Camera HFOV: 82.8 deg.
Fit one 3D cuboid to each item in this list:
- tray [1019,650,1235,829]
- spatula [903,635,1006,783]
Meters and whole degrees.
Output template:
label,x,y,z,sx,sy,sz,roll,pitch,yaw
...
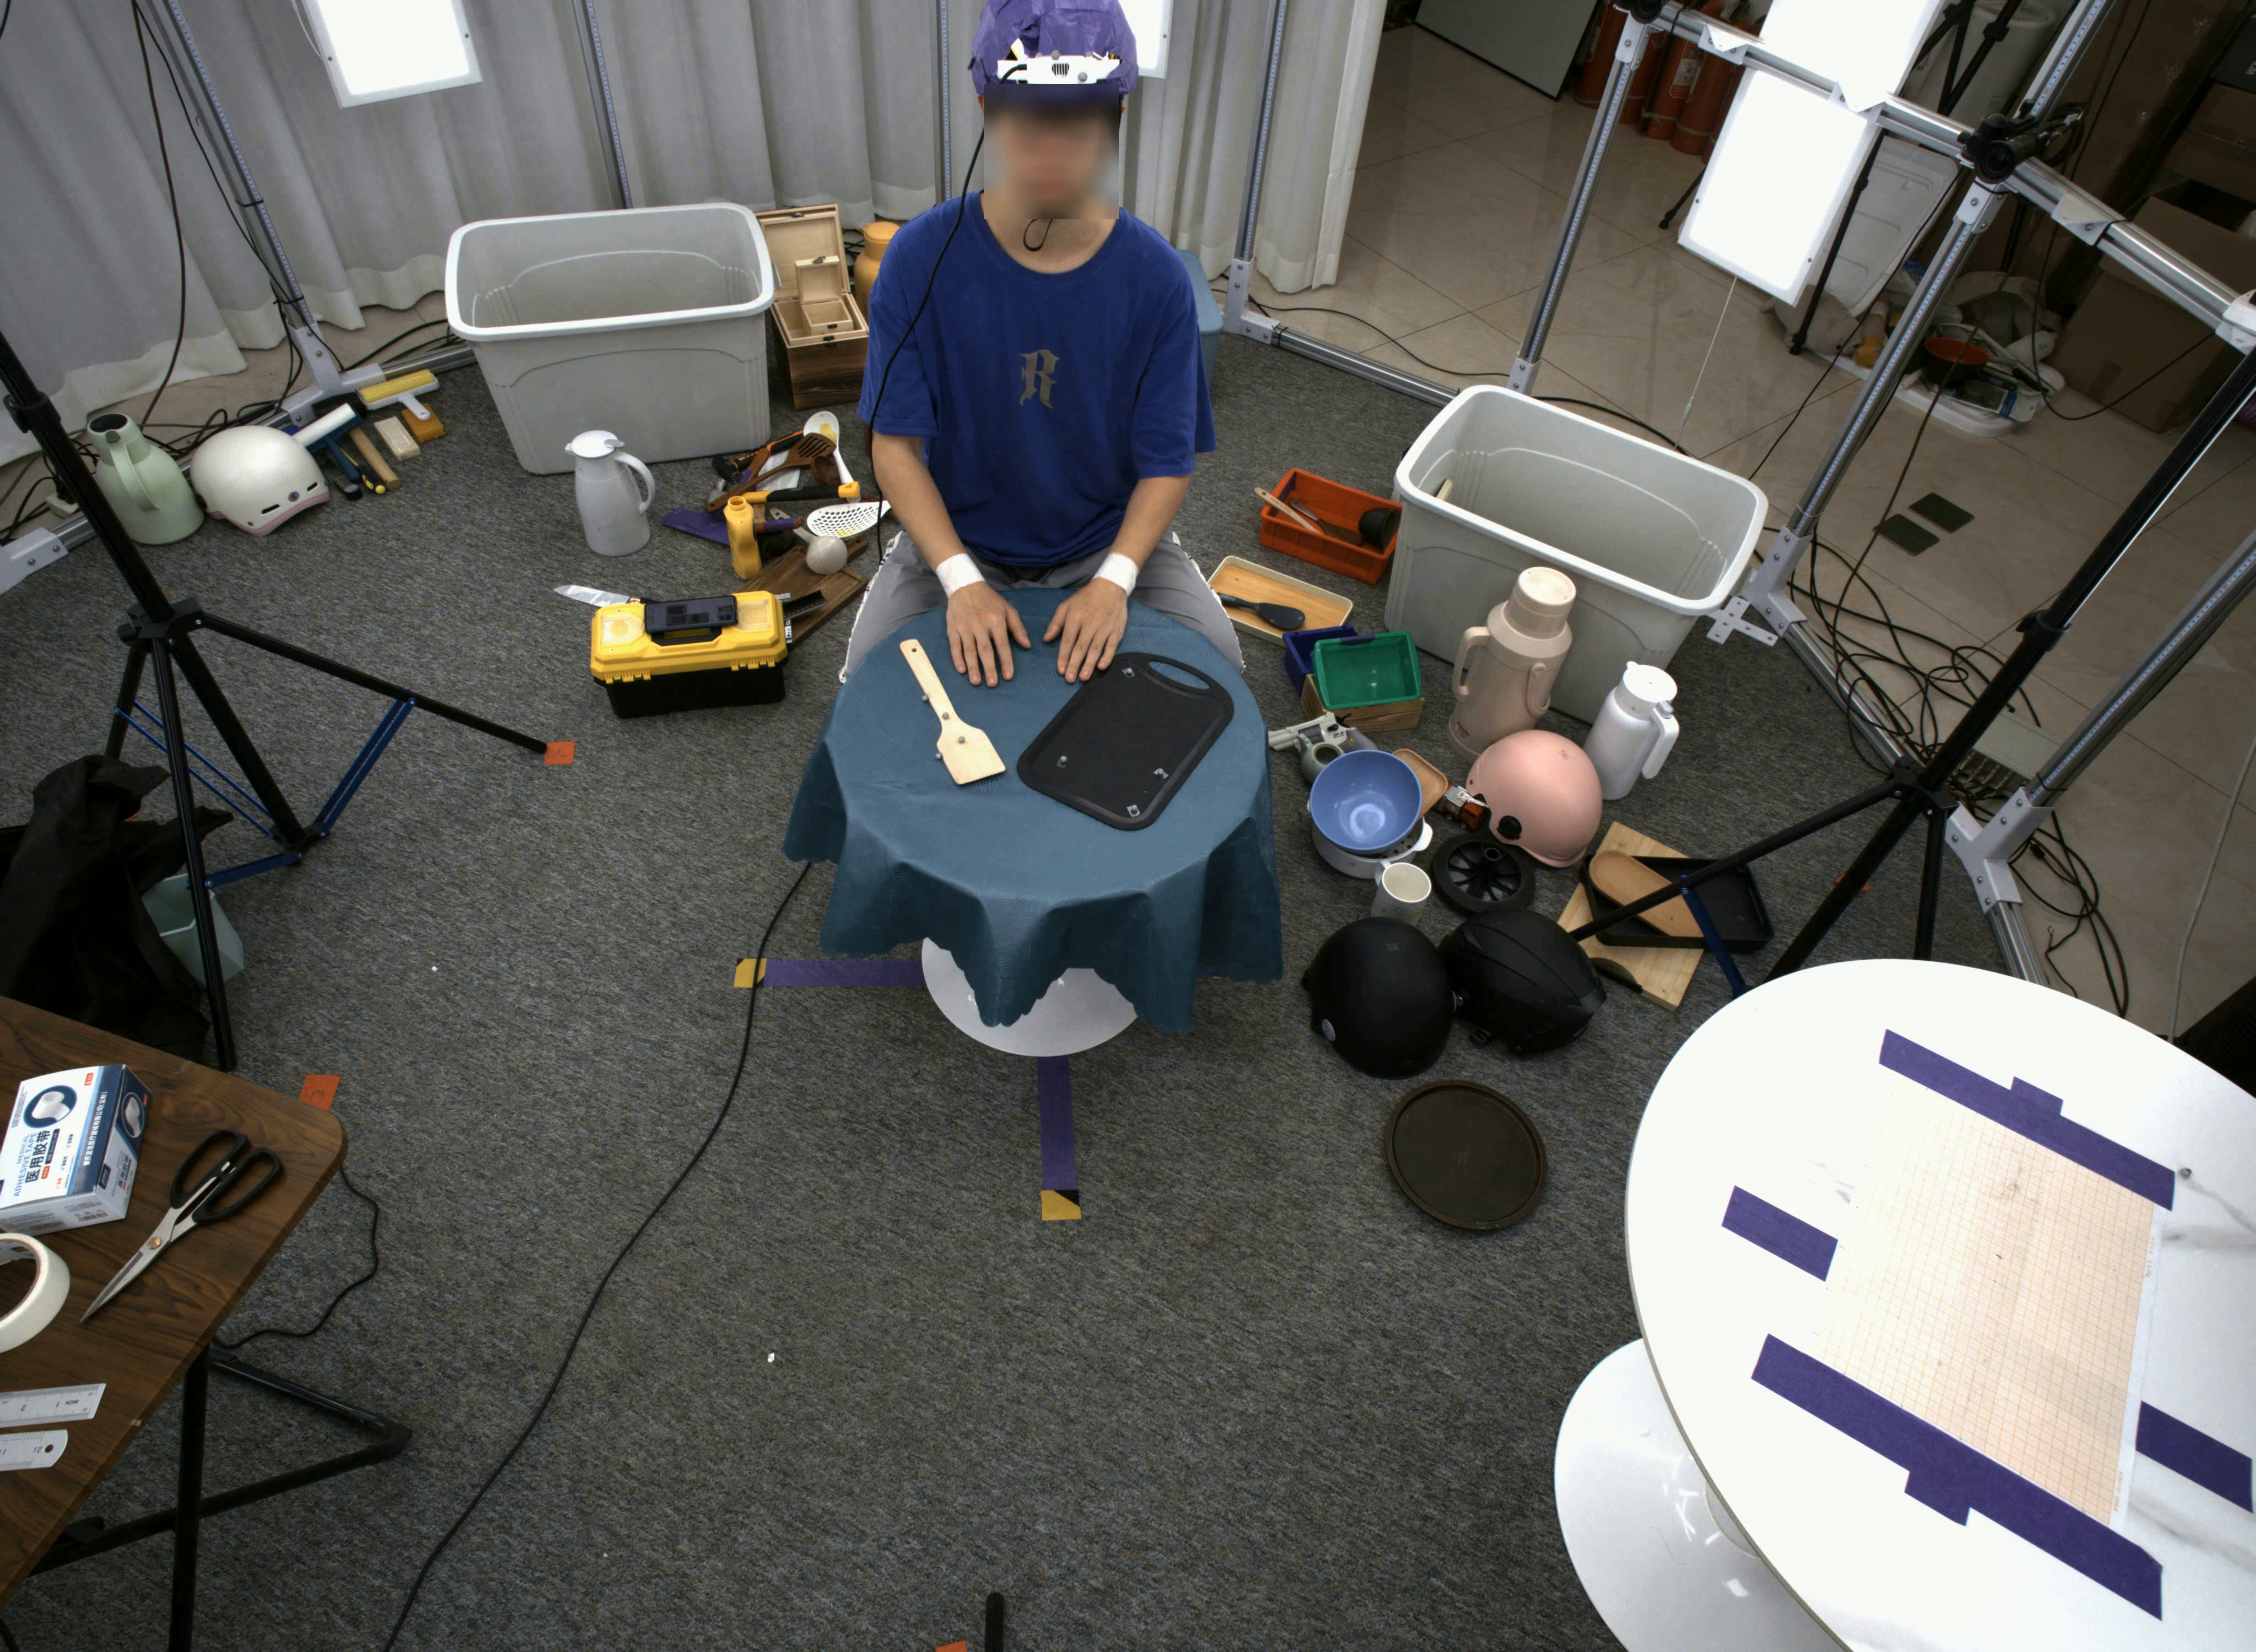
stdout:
label,x,y,z,sx,sy,sz,roll,pitch,yaw
tray,0.007,-0.134,1.785,0.213,0.009,0.330,26,53,17
spatula,-0.256,-0.170,1.797,0.072,0.010,0.299,-19,54,-17
